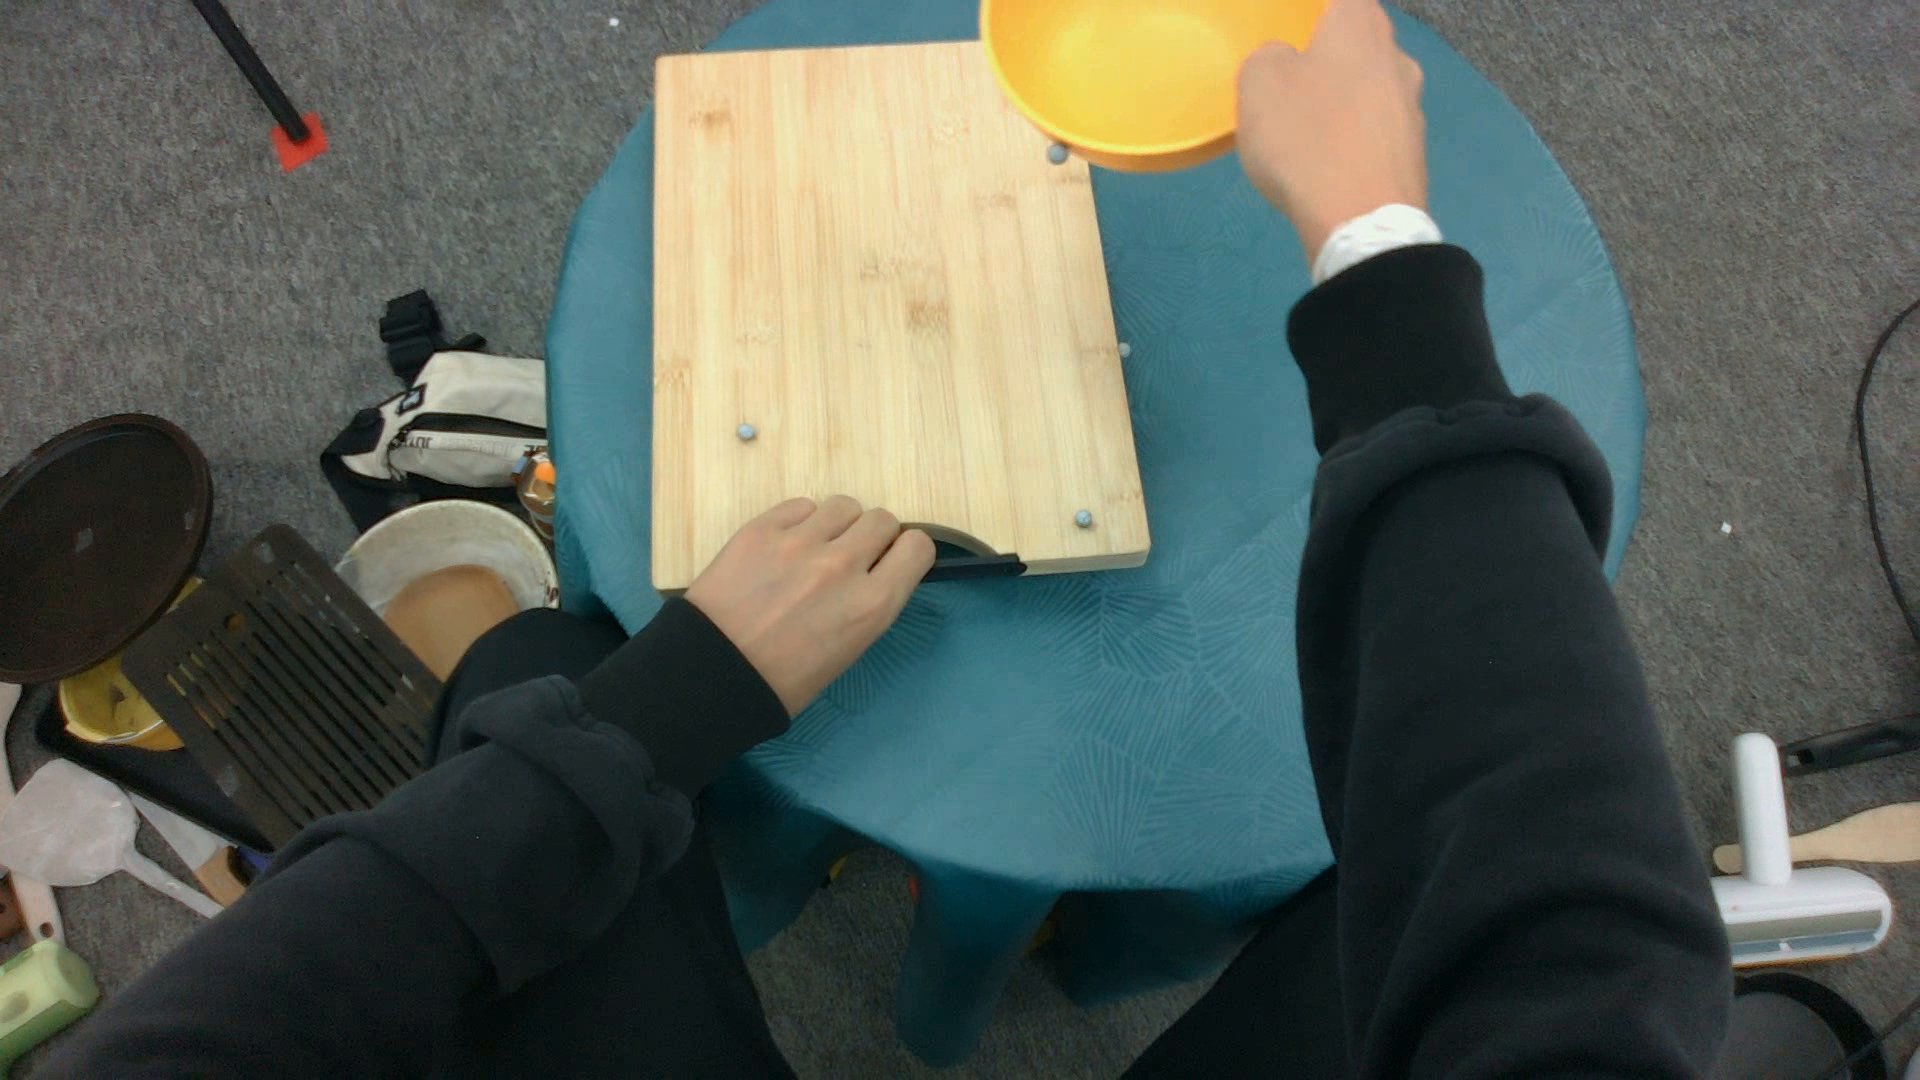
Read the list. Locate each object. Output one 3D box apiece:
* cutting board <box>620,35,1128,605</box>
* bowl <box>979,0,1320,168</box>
[{"bbox_3d":[-0.056,-0.135,0.735,0.251,0.023,0.350,-5,64,-5],"label":"cutting board"},{"bbox_3d":[0.084,-0.220,0.609,0.145,0.060,0.145,-3,73,9],"label":"bowl"}]
